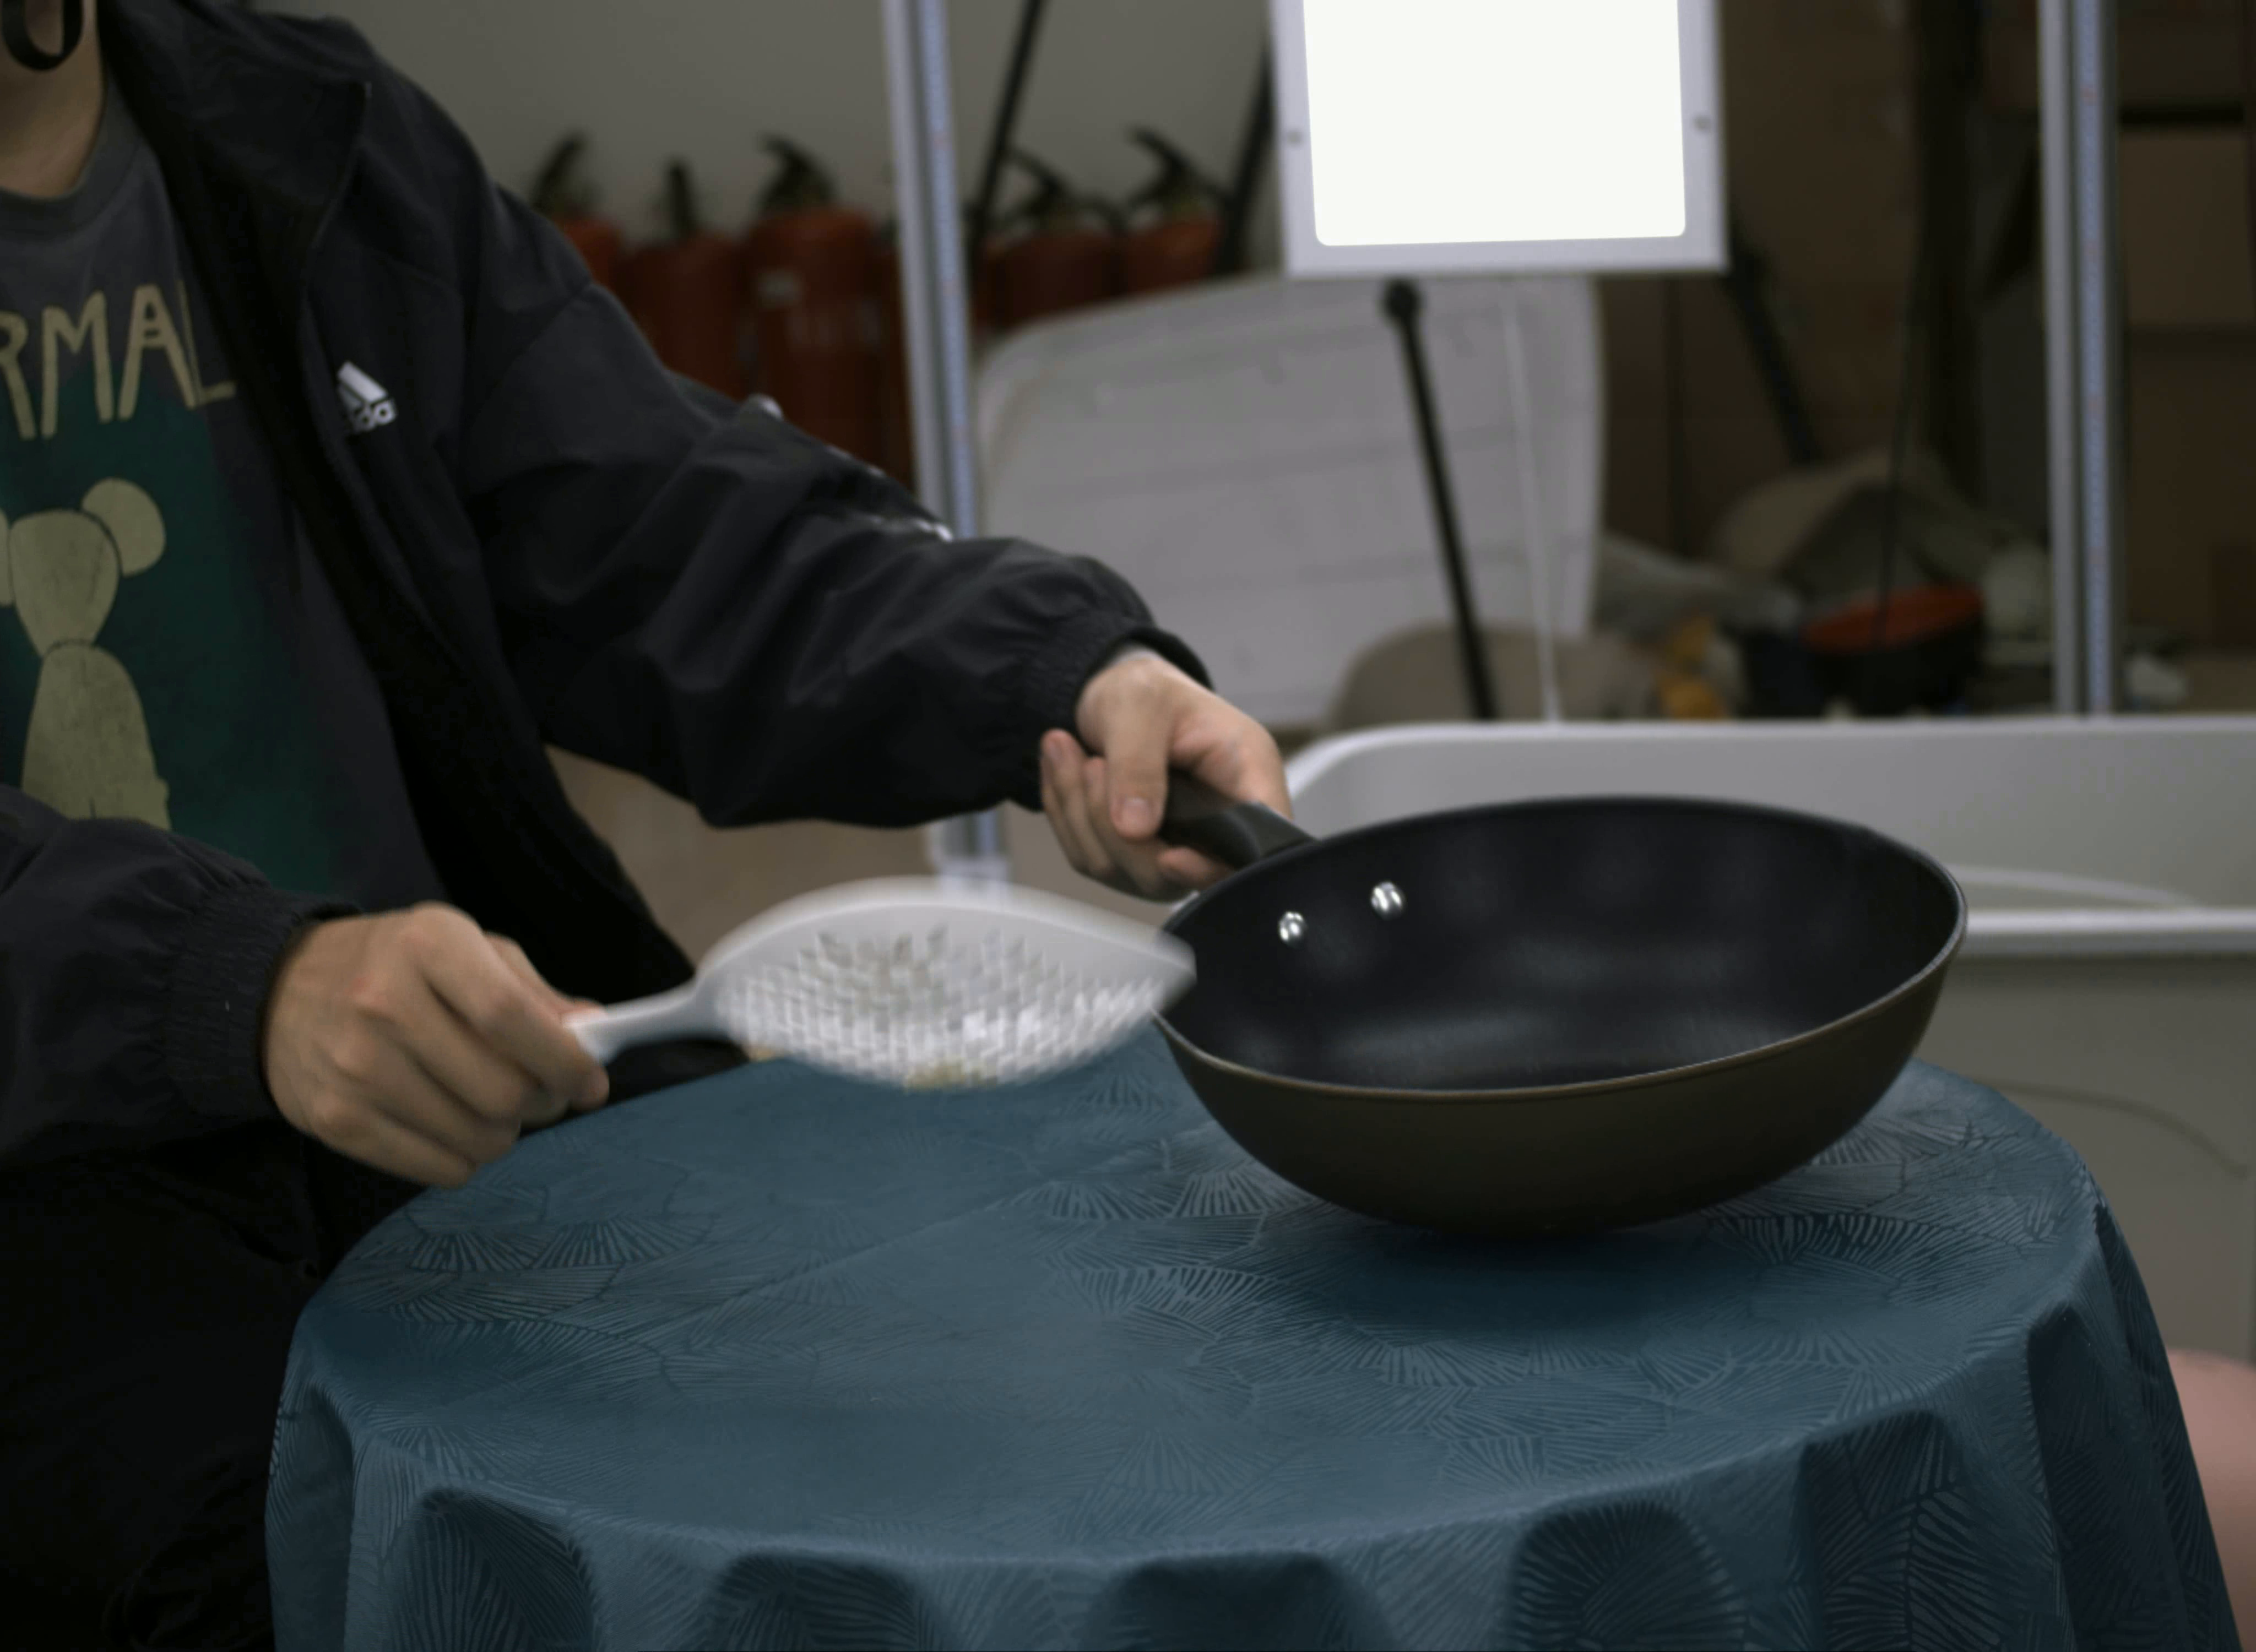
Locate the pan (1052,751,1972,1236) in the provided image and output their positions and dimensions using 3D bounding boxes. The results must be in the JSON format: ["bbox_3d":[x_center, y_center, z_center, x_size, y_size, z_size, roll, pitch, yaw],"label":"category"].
[{"bbox_3d":[0.098,0.055,1.939,0.282,0.087,0.472,-16,19,-29],"label":"pan"}]

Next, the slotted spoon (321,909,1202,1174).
[{"bbox_3d":[-0.129,0.075,1.736,0.356,0.050,0.133,-8,-17,43],"label":"slotted spoon"}]
